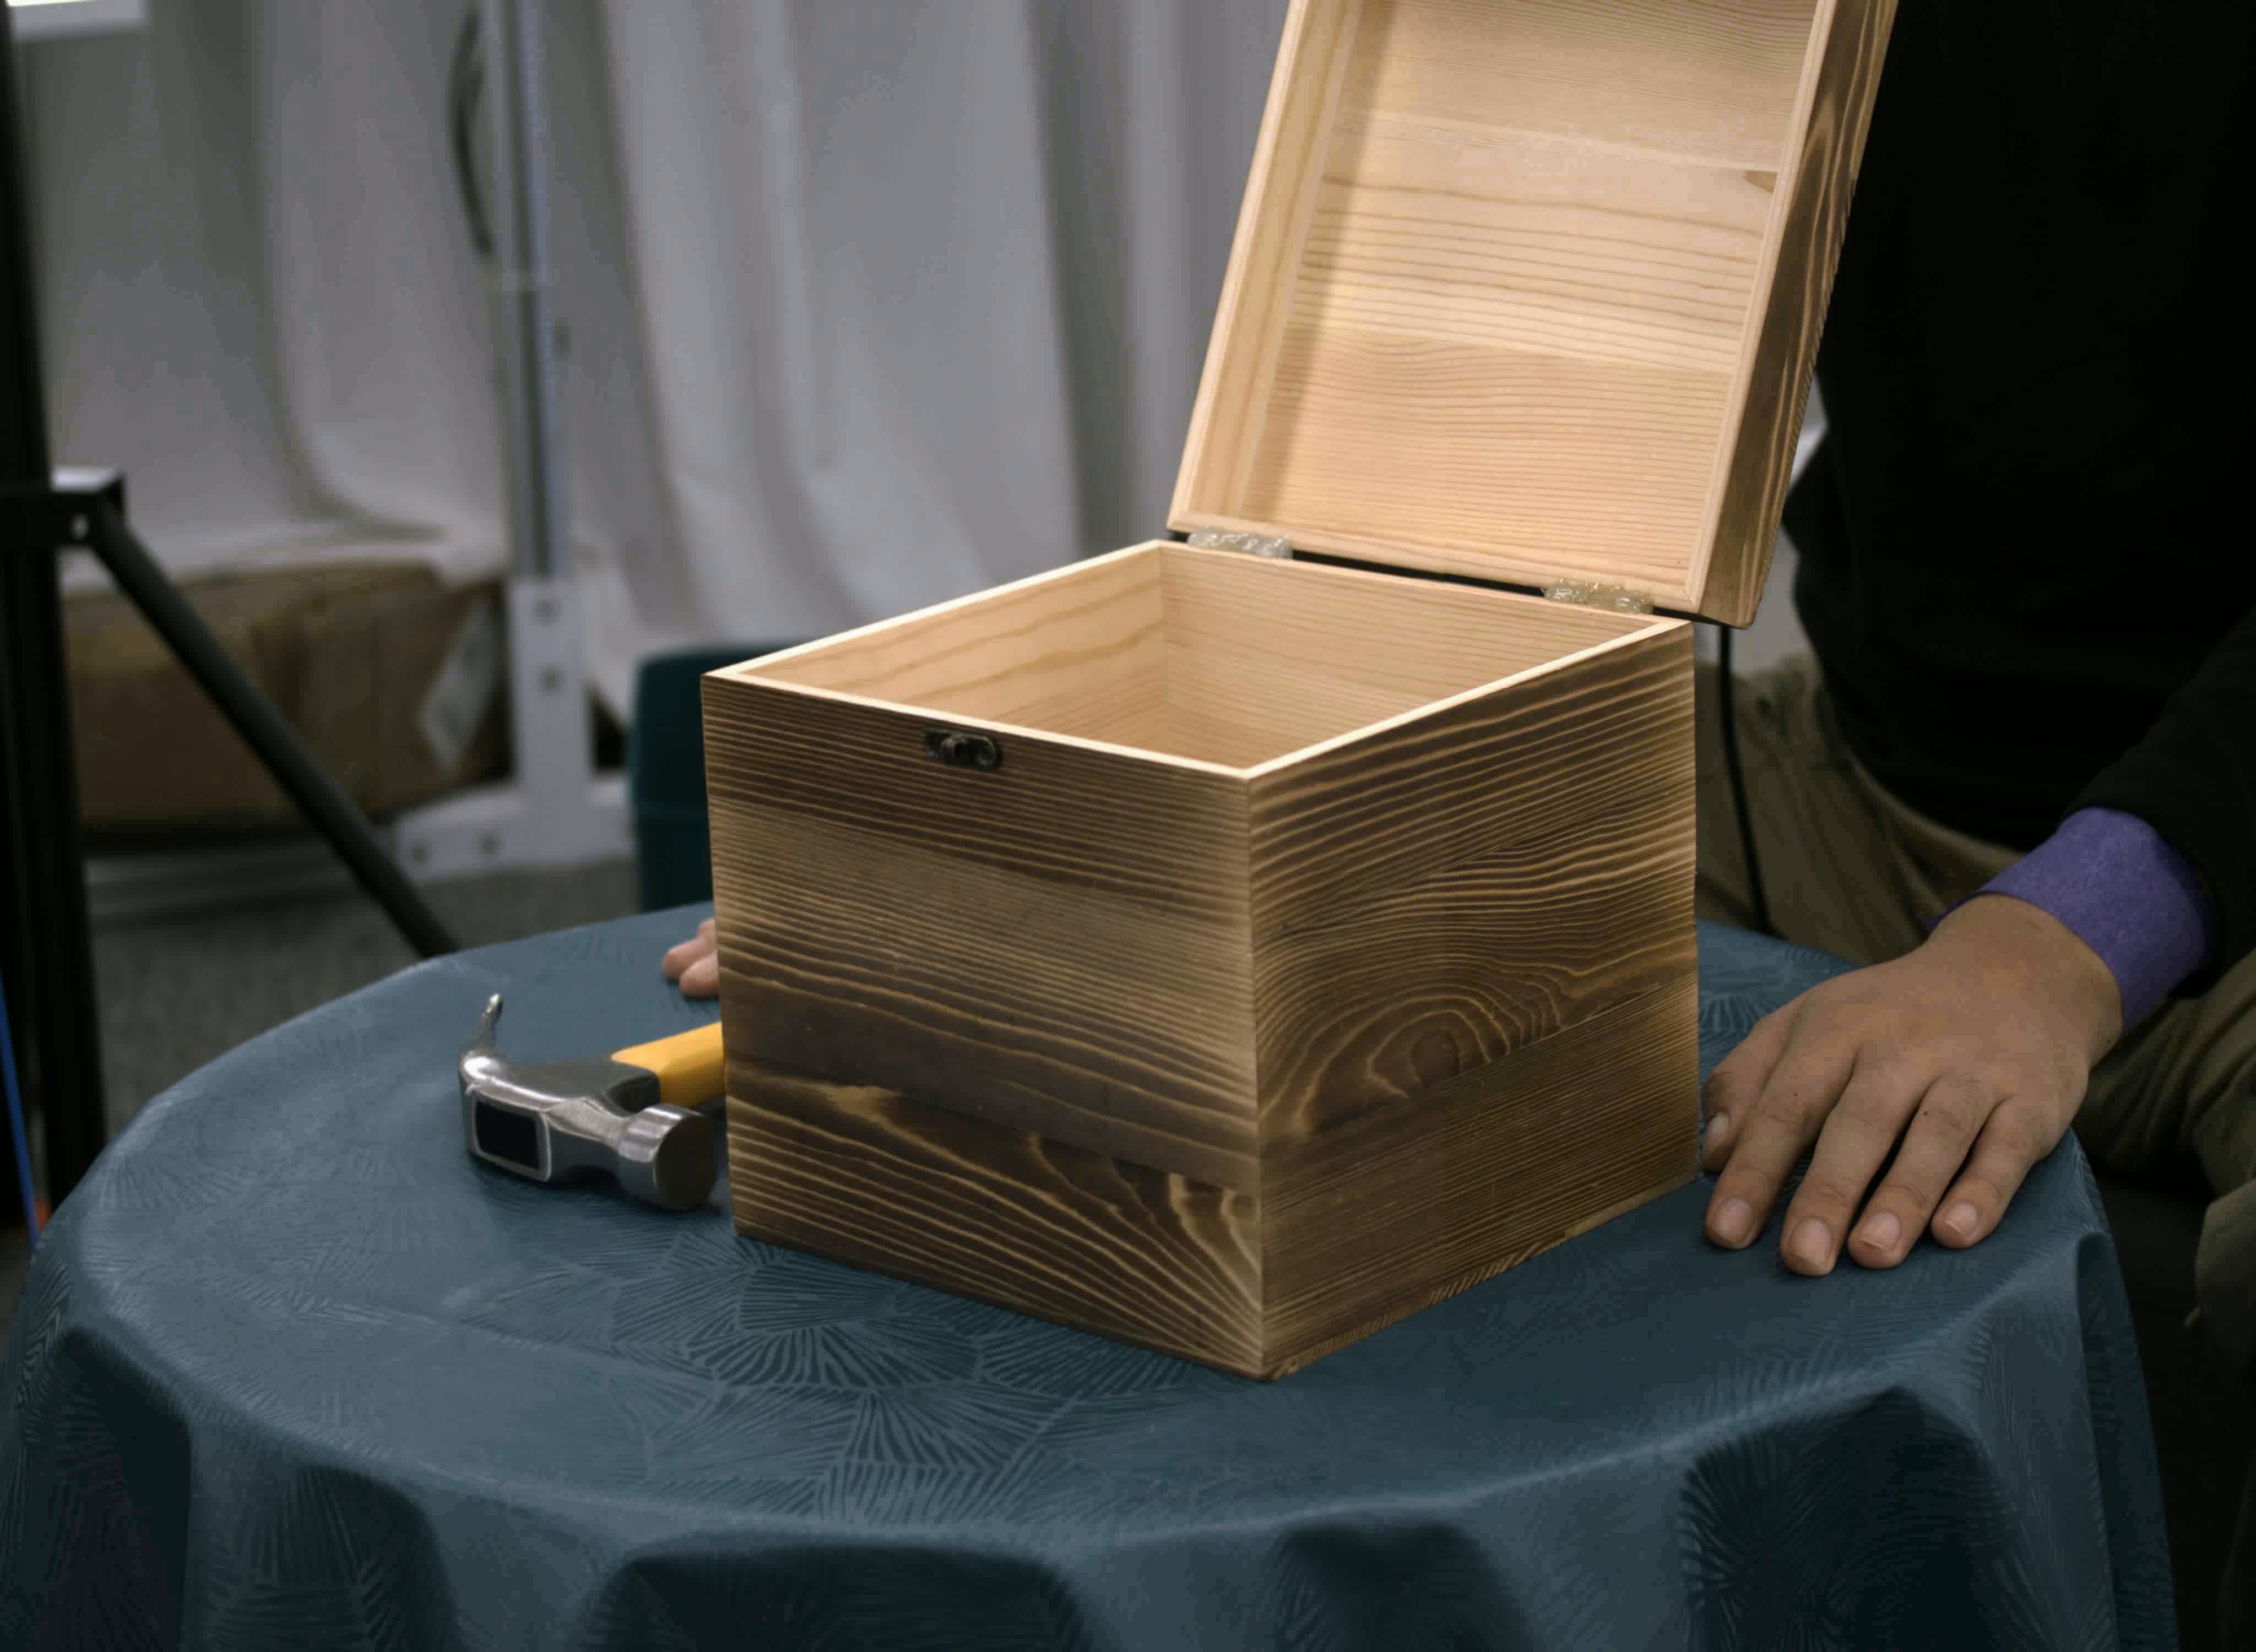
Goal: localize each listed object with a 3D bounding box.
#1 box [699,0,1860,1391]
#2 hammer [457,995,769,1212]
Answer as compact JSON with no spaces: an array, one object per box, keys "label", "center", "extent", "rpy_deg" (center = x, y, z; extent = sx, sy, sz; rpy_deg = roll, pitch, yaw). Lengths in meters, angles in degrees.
[{"label":"box","center":[0.053,-0.072,1.531],"extent":[0.213,0.375,0.315],"rpy_deg":[10,18,41]},{"label":"hammer","center":[-0.073,0.051,1.701],"extent":[0.134,0.032,0.331],"rpy_deg":[12,22,42]}]
